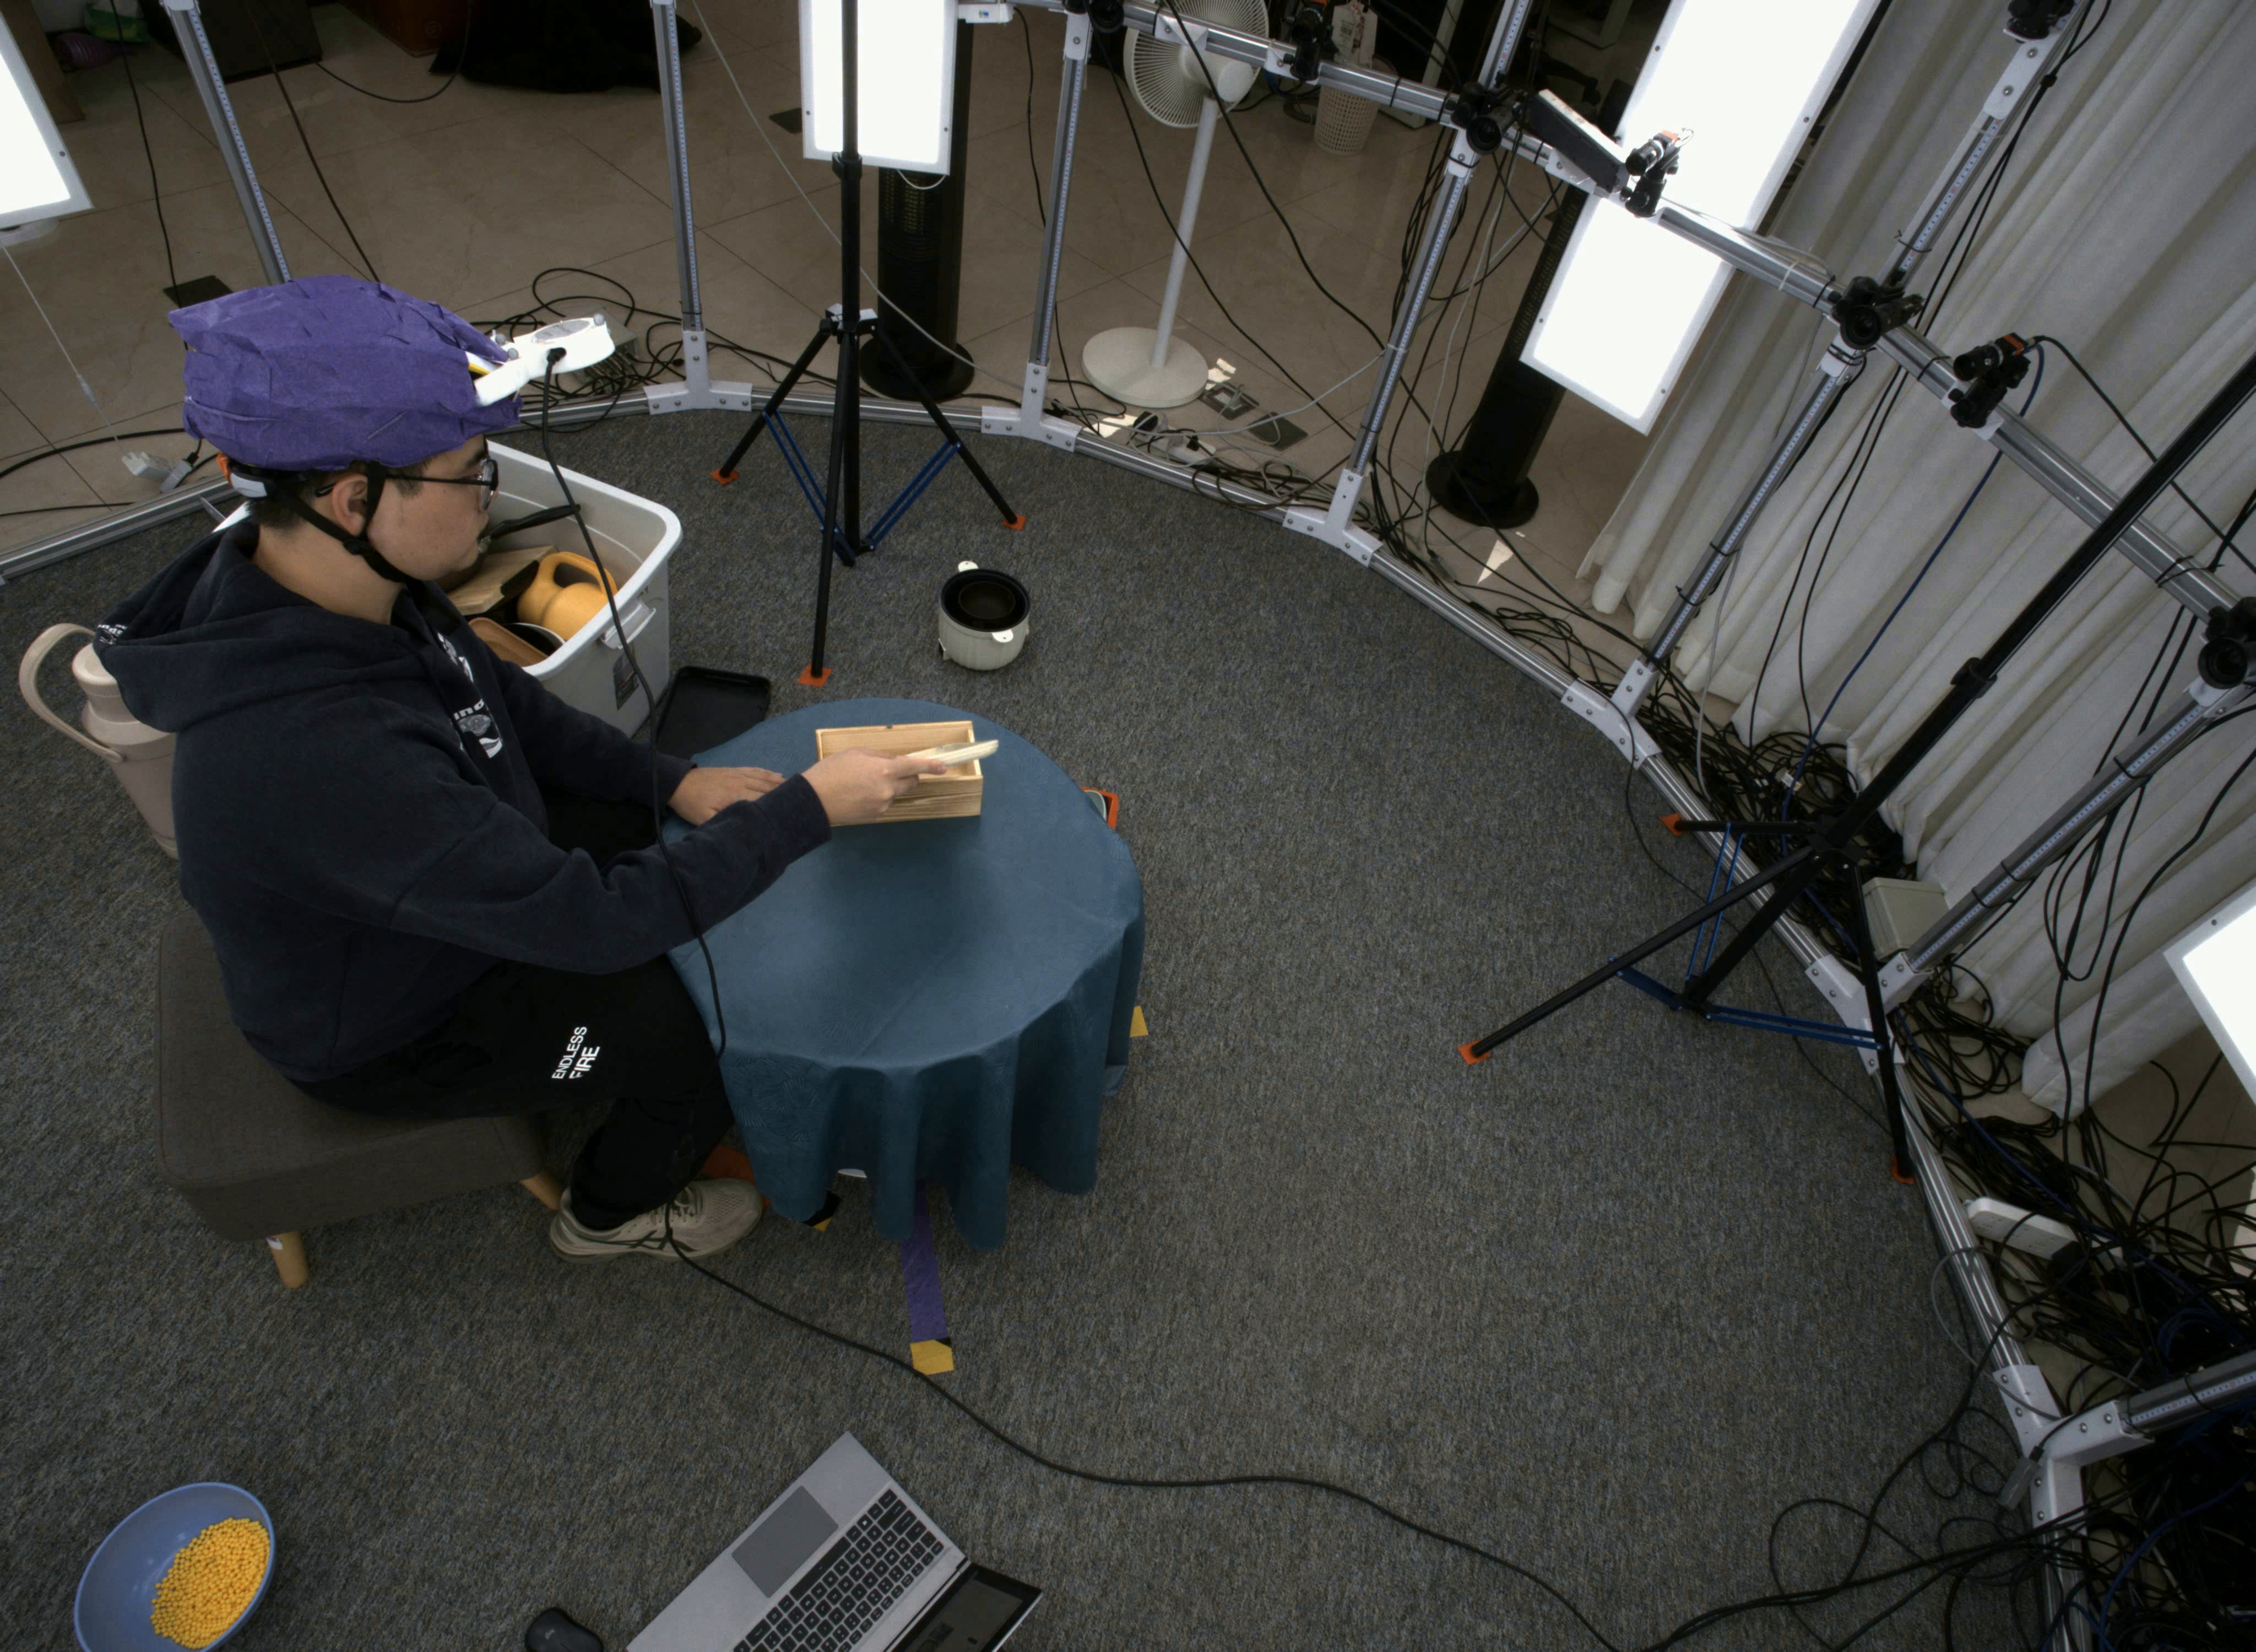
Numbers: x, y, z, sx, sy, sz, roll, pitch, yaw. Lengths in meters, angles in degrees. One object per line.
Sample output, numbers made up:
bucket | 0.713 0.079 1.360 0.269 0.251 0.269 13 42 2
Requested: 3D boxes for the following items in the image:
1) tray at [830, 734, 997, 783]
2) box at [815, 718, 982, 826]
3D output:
tray | -0.262 -0.080 1.577 0.172 0.234 0.018 -16 98 -22
box | -0.310 -0.074 1.753 0.212 0.082 0.105 -5 54 -17
